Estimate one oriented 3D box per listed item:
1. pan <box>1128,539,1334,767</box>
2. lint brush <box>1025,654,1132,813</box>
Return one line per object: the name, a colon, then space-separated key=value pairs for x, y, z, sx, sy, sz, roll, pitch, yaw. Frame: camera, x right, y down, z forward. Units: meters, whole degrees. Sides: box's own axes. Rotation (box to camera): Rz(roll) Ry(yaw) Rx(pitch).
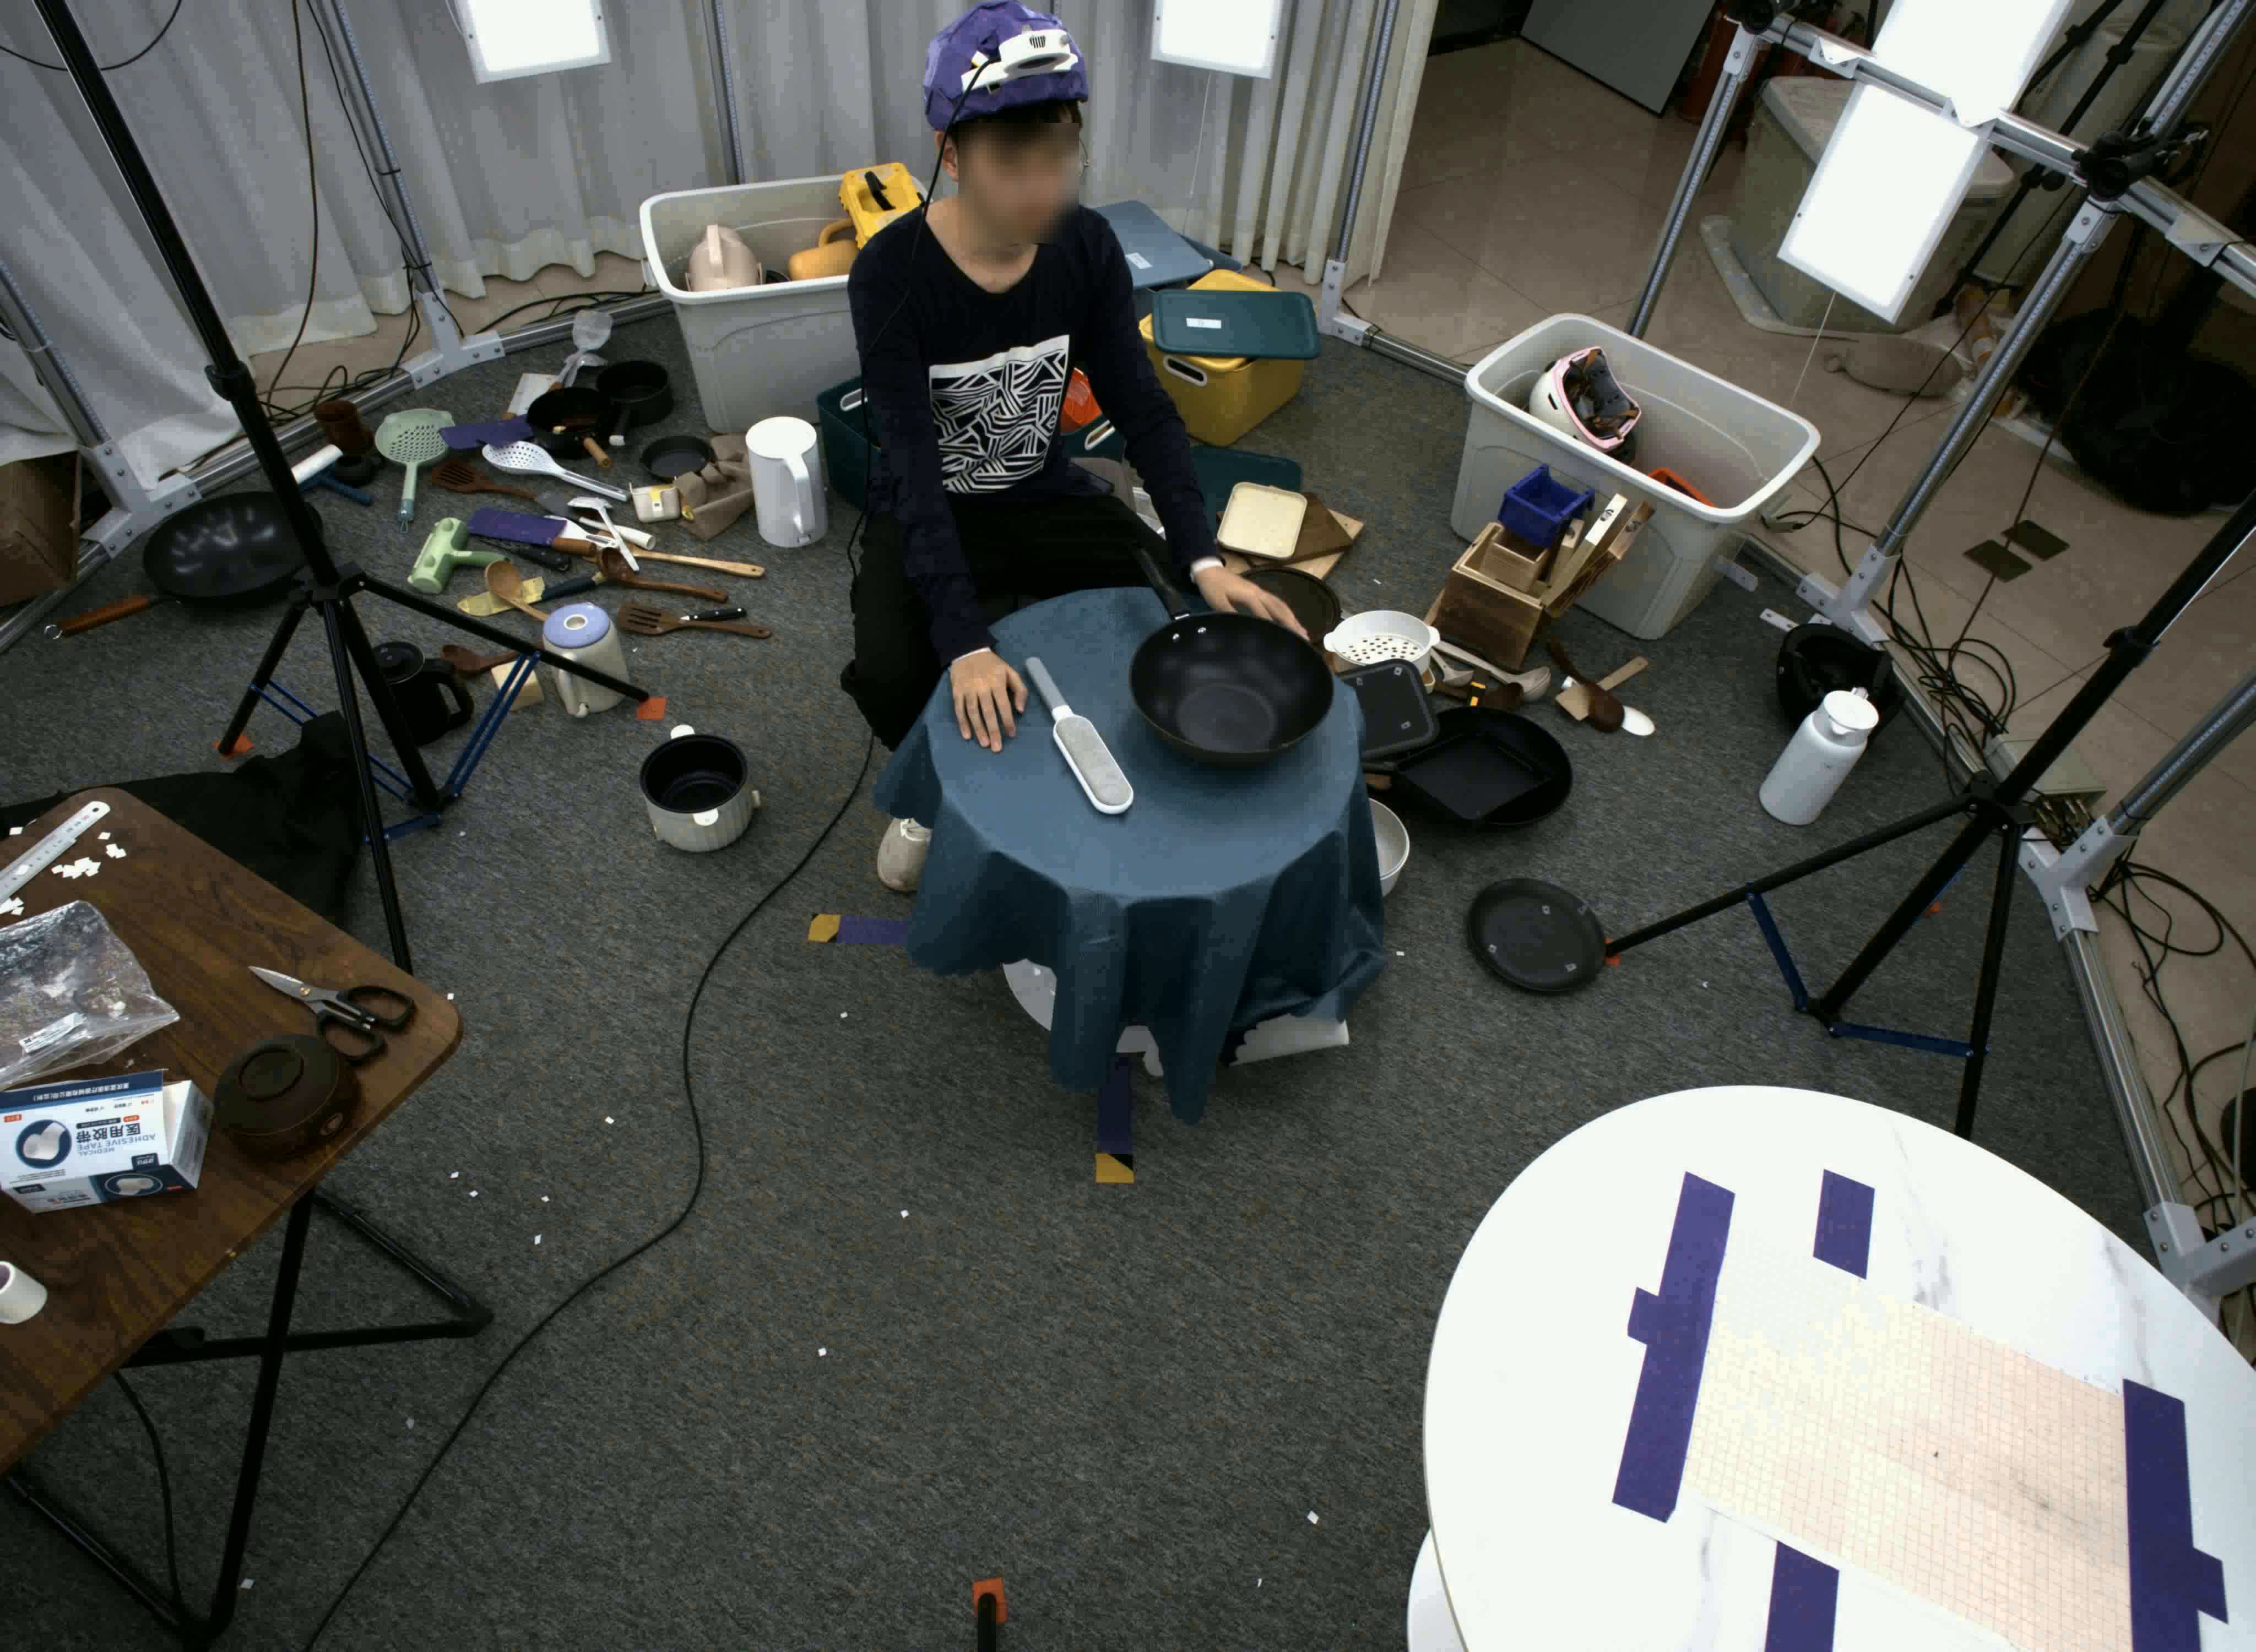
pan: x=0.101 y=-0.241 z=1.830 sx=0.288 sy=0.085 sz=0.474 roll=-16 pitch=52 yaw=-18
lint brush: x=-0.074 y=-0.133 z=1.759 sx=0.060 sy=0.020 sz=0.316 roll=-20 pitch=53 yaw=-14
